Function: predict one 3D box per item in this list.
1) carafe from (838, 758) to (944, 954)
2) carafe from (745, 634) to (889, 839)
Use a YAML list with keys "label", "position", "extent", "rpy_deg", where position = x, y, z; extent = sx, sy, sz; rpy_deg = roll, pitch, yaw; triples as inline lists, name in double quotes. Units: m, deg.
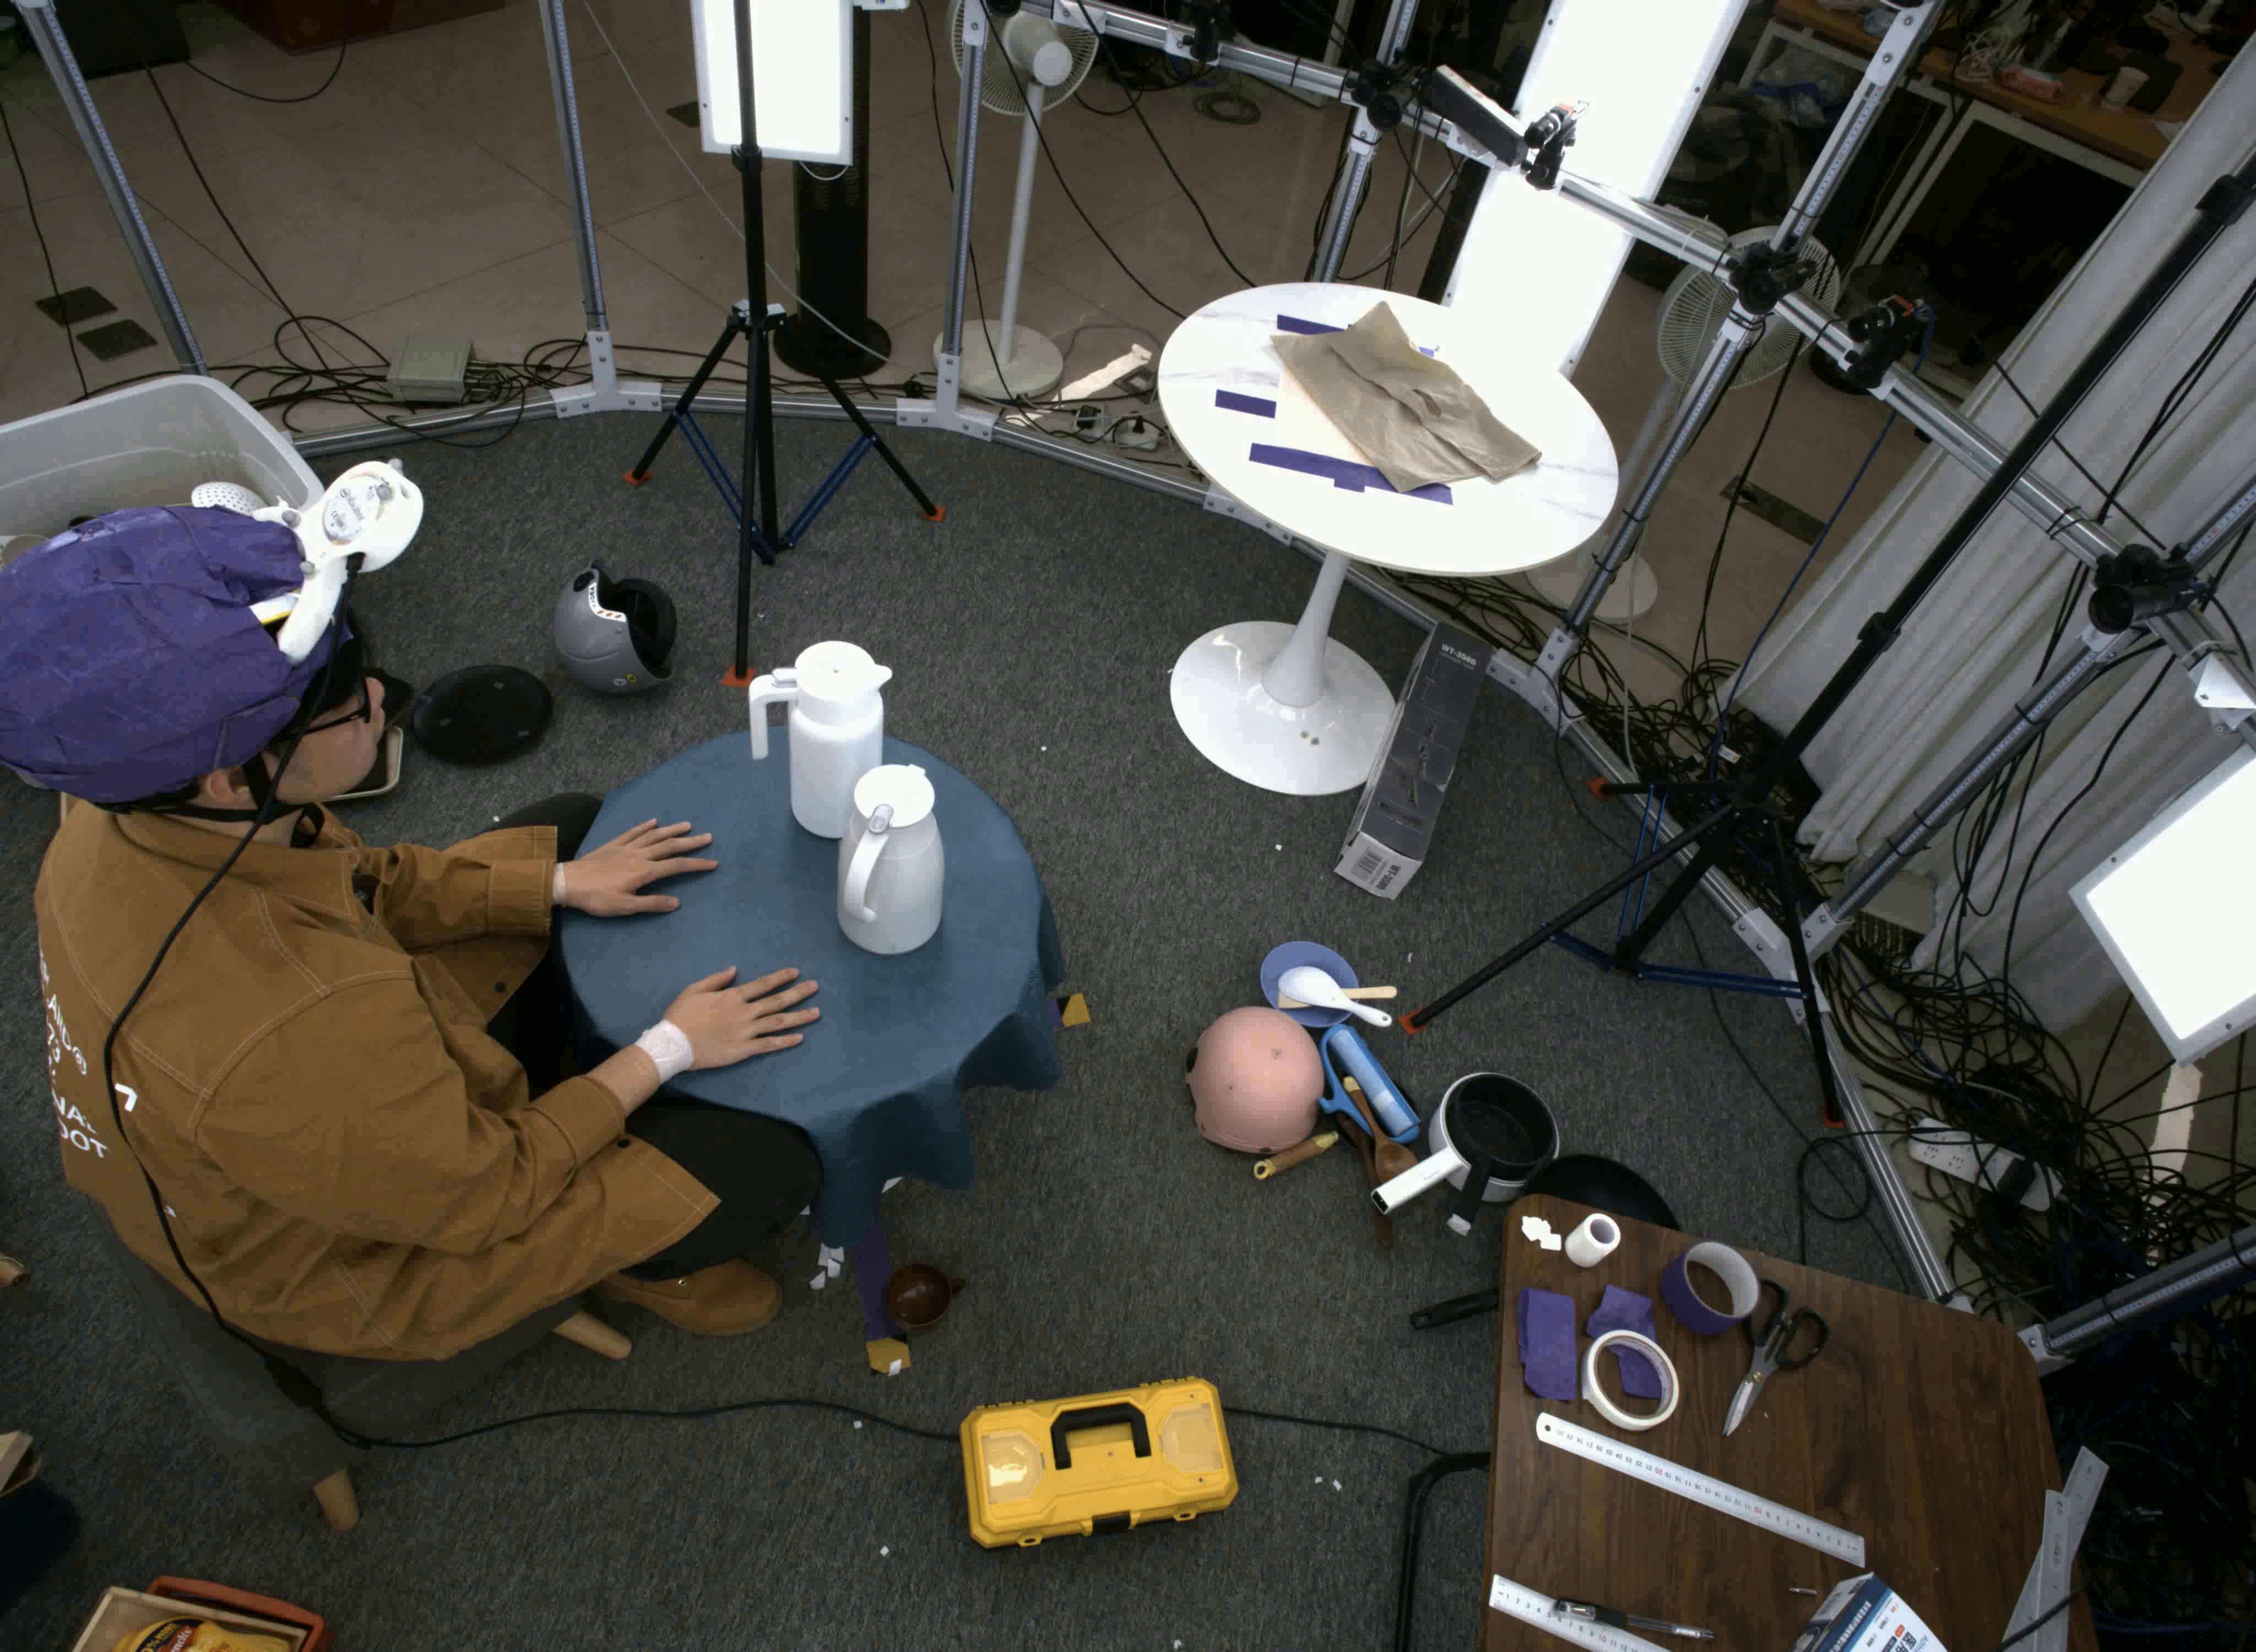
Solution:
- label: "carafe"
  position: [-0.292, 0.044, 1.560]
  extent: [0.131, 0.254, 0.166]
  rpy_deg: [21, 52, 5]
- label: "carafe"
  position: [-0.390, -0.107, 1.637]
  extent: [0.173, 0.274, 0.121]
  rpy_deg: [-7, 56, -17]
